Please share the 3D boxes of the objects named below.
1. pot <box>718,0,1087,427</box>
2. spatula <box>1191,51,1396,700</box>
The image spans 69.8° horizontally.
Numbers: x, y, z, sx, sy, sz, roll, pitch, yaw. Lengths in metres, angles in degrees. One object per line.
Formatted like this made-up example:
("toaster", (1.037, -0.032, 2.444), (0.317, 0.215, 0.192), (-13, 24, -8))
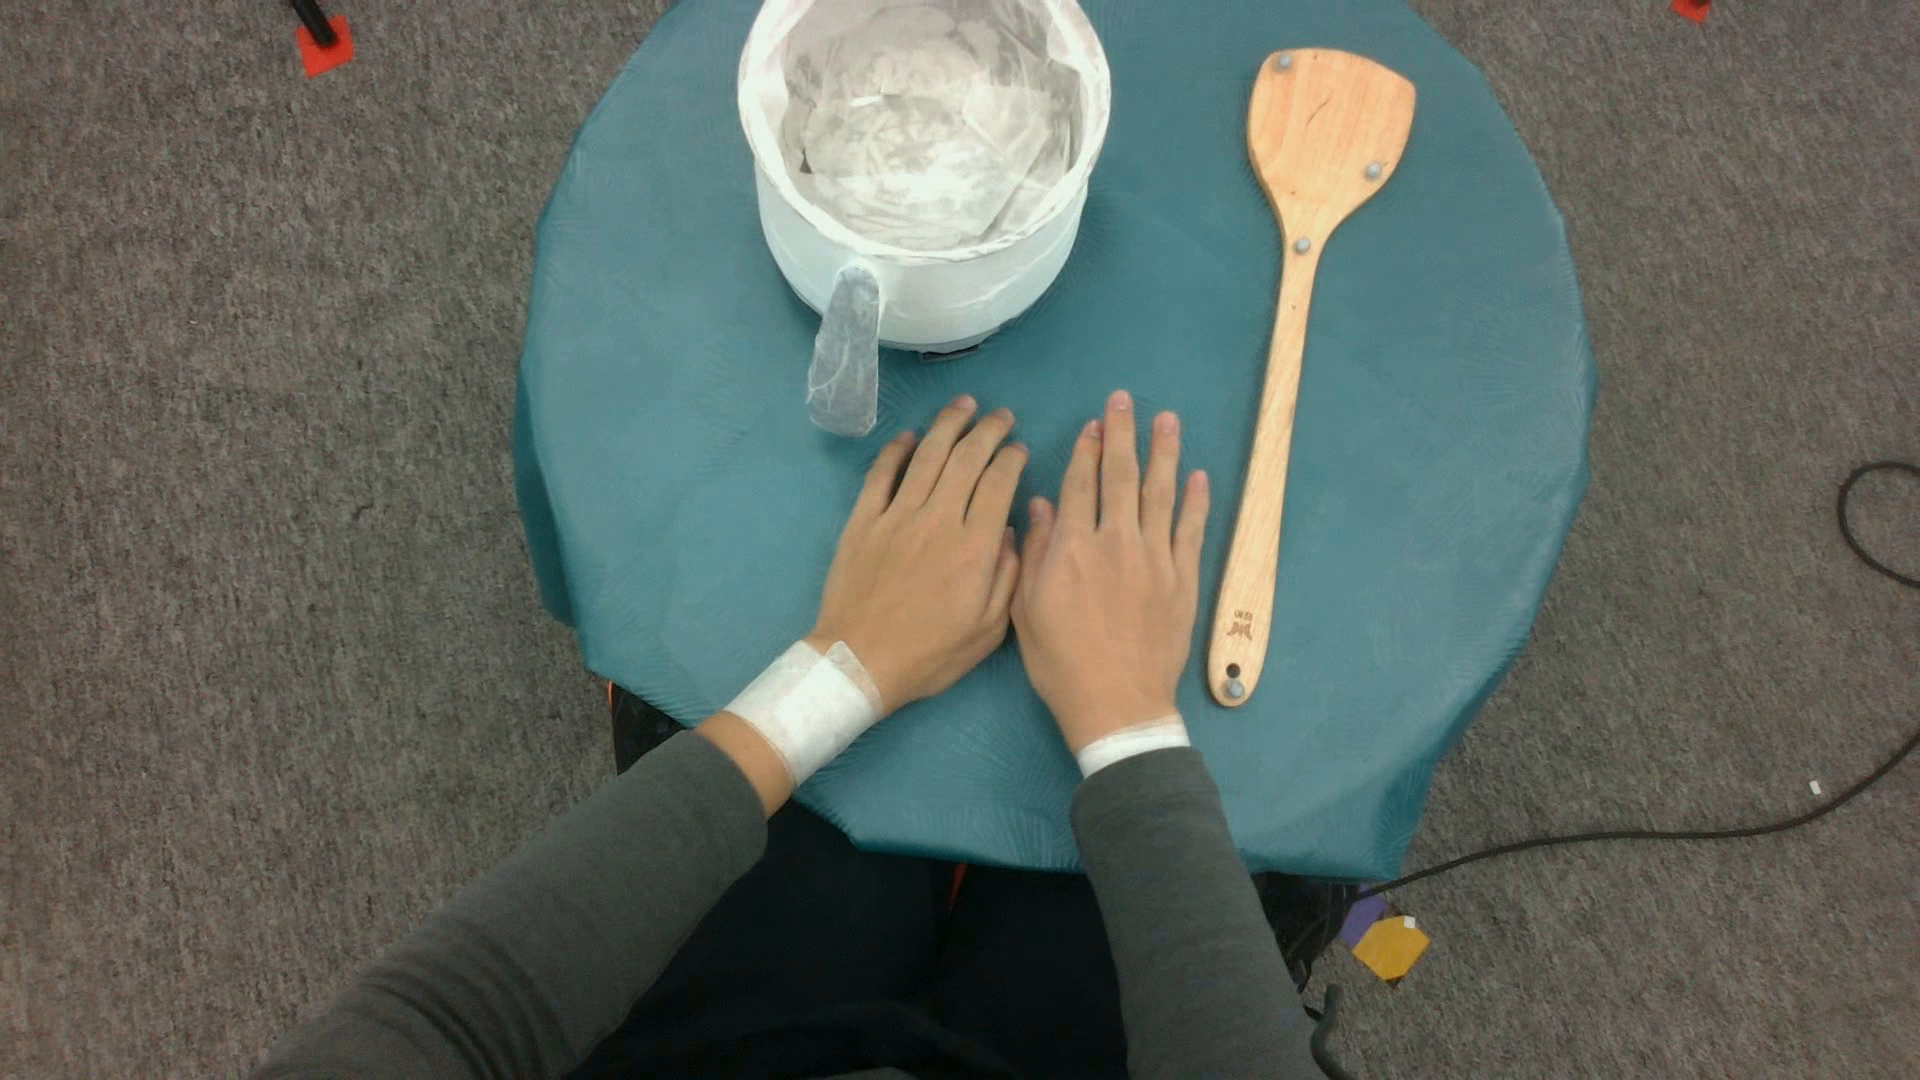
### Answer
("pot", (-0.038, -0.178, 0.712), (0.179, 0.136, 0.234), (16, 75, 1))
("spatula", (0.176, -0.101, 0.771), (0.096, 0.018, 0.391), (11, 75, 0))
